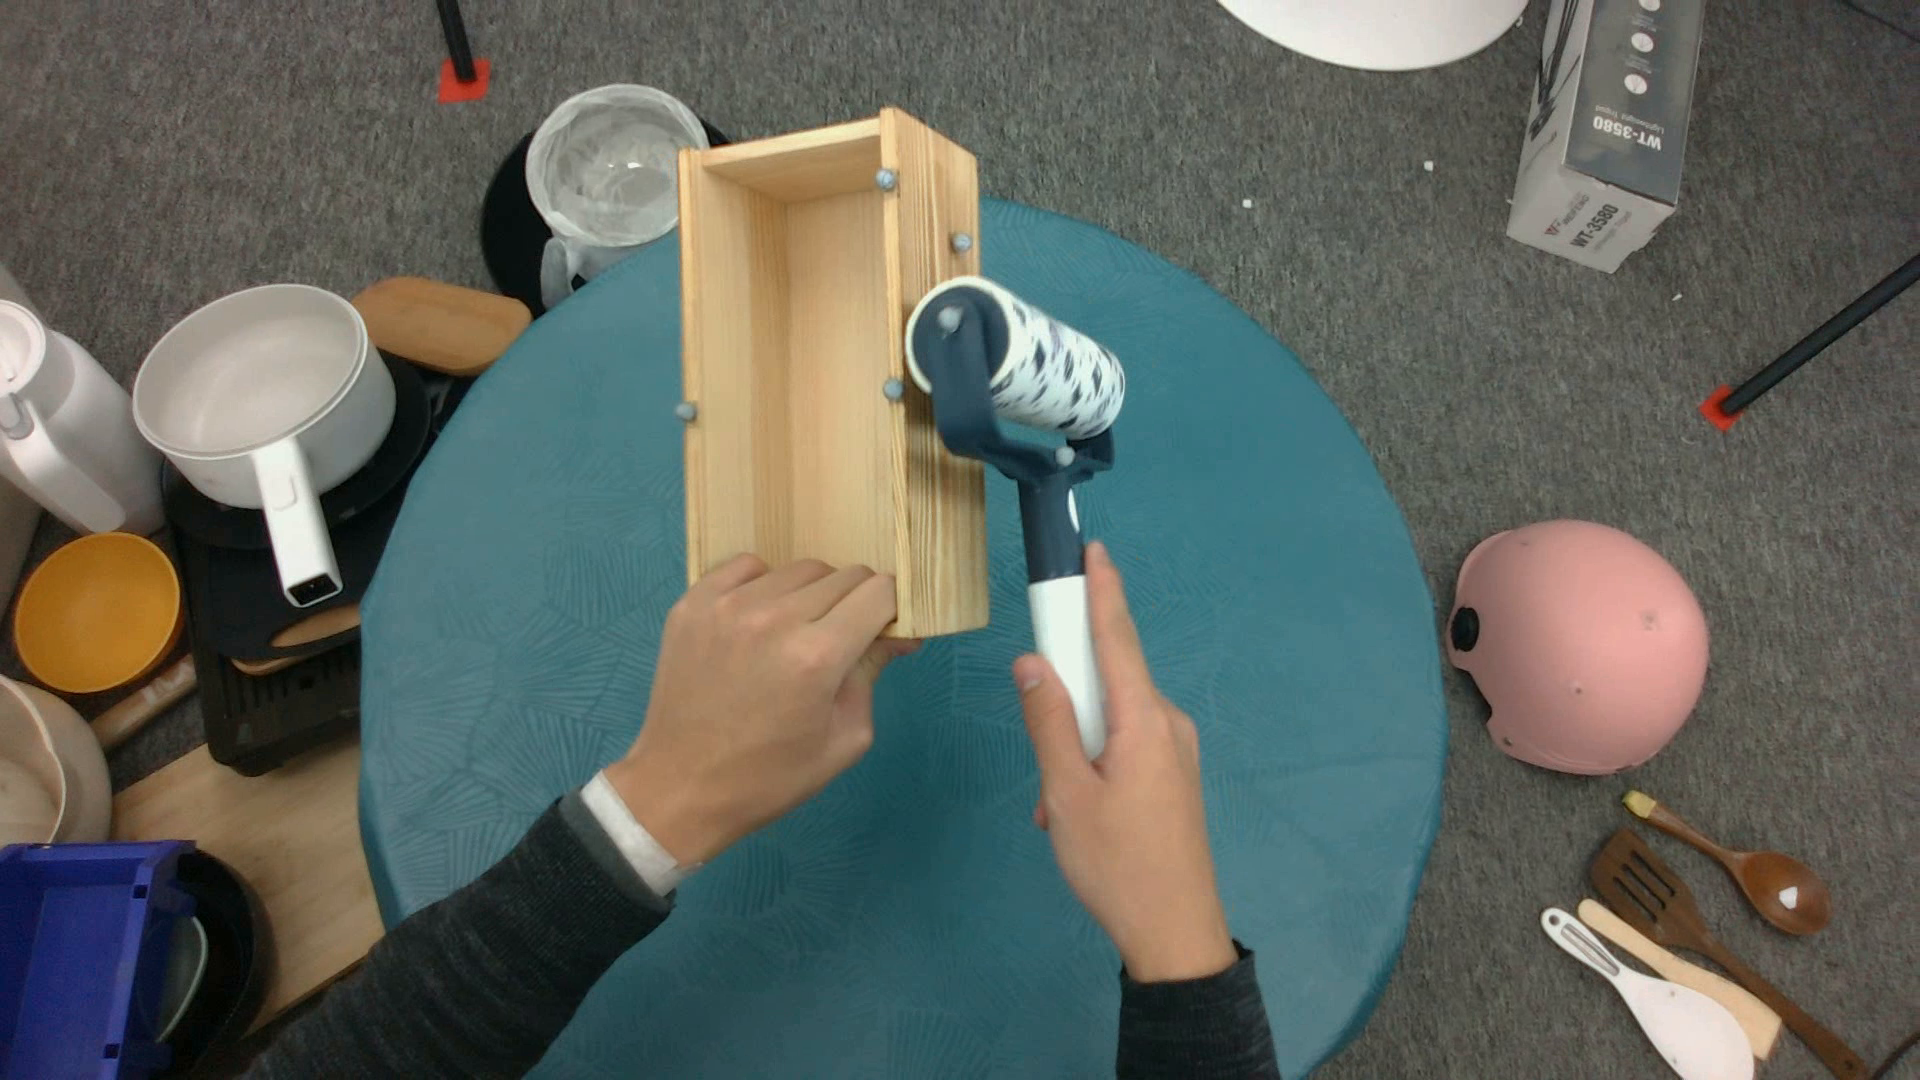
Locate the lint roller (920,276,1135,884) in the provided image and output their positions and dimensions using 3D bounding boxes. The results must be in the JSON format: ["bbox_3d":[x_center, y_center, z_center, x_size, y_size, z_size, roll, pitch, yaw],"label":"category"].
[{"bbox_3d":[0.047,0.021,0.591,0.050,0.176,0.247,-13,86,15],"label":"lint roller"}]

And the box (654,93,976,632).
[{"bbox_3d":[-0.061,-0.069,0.596,0.107,0.080,0.211,-4,88,23],"label":"box"}]
